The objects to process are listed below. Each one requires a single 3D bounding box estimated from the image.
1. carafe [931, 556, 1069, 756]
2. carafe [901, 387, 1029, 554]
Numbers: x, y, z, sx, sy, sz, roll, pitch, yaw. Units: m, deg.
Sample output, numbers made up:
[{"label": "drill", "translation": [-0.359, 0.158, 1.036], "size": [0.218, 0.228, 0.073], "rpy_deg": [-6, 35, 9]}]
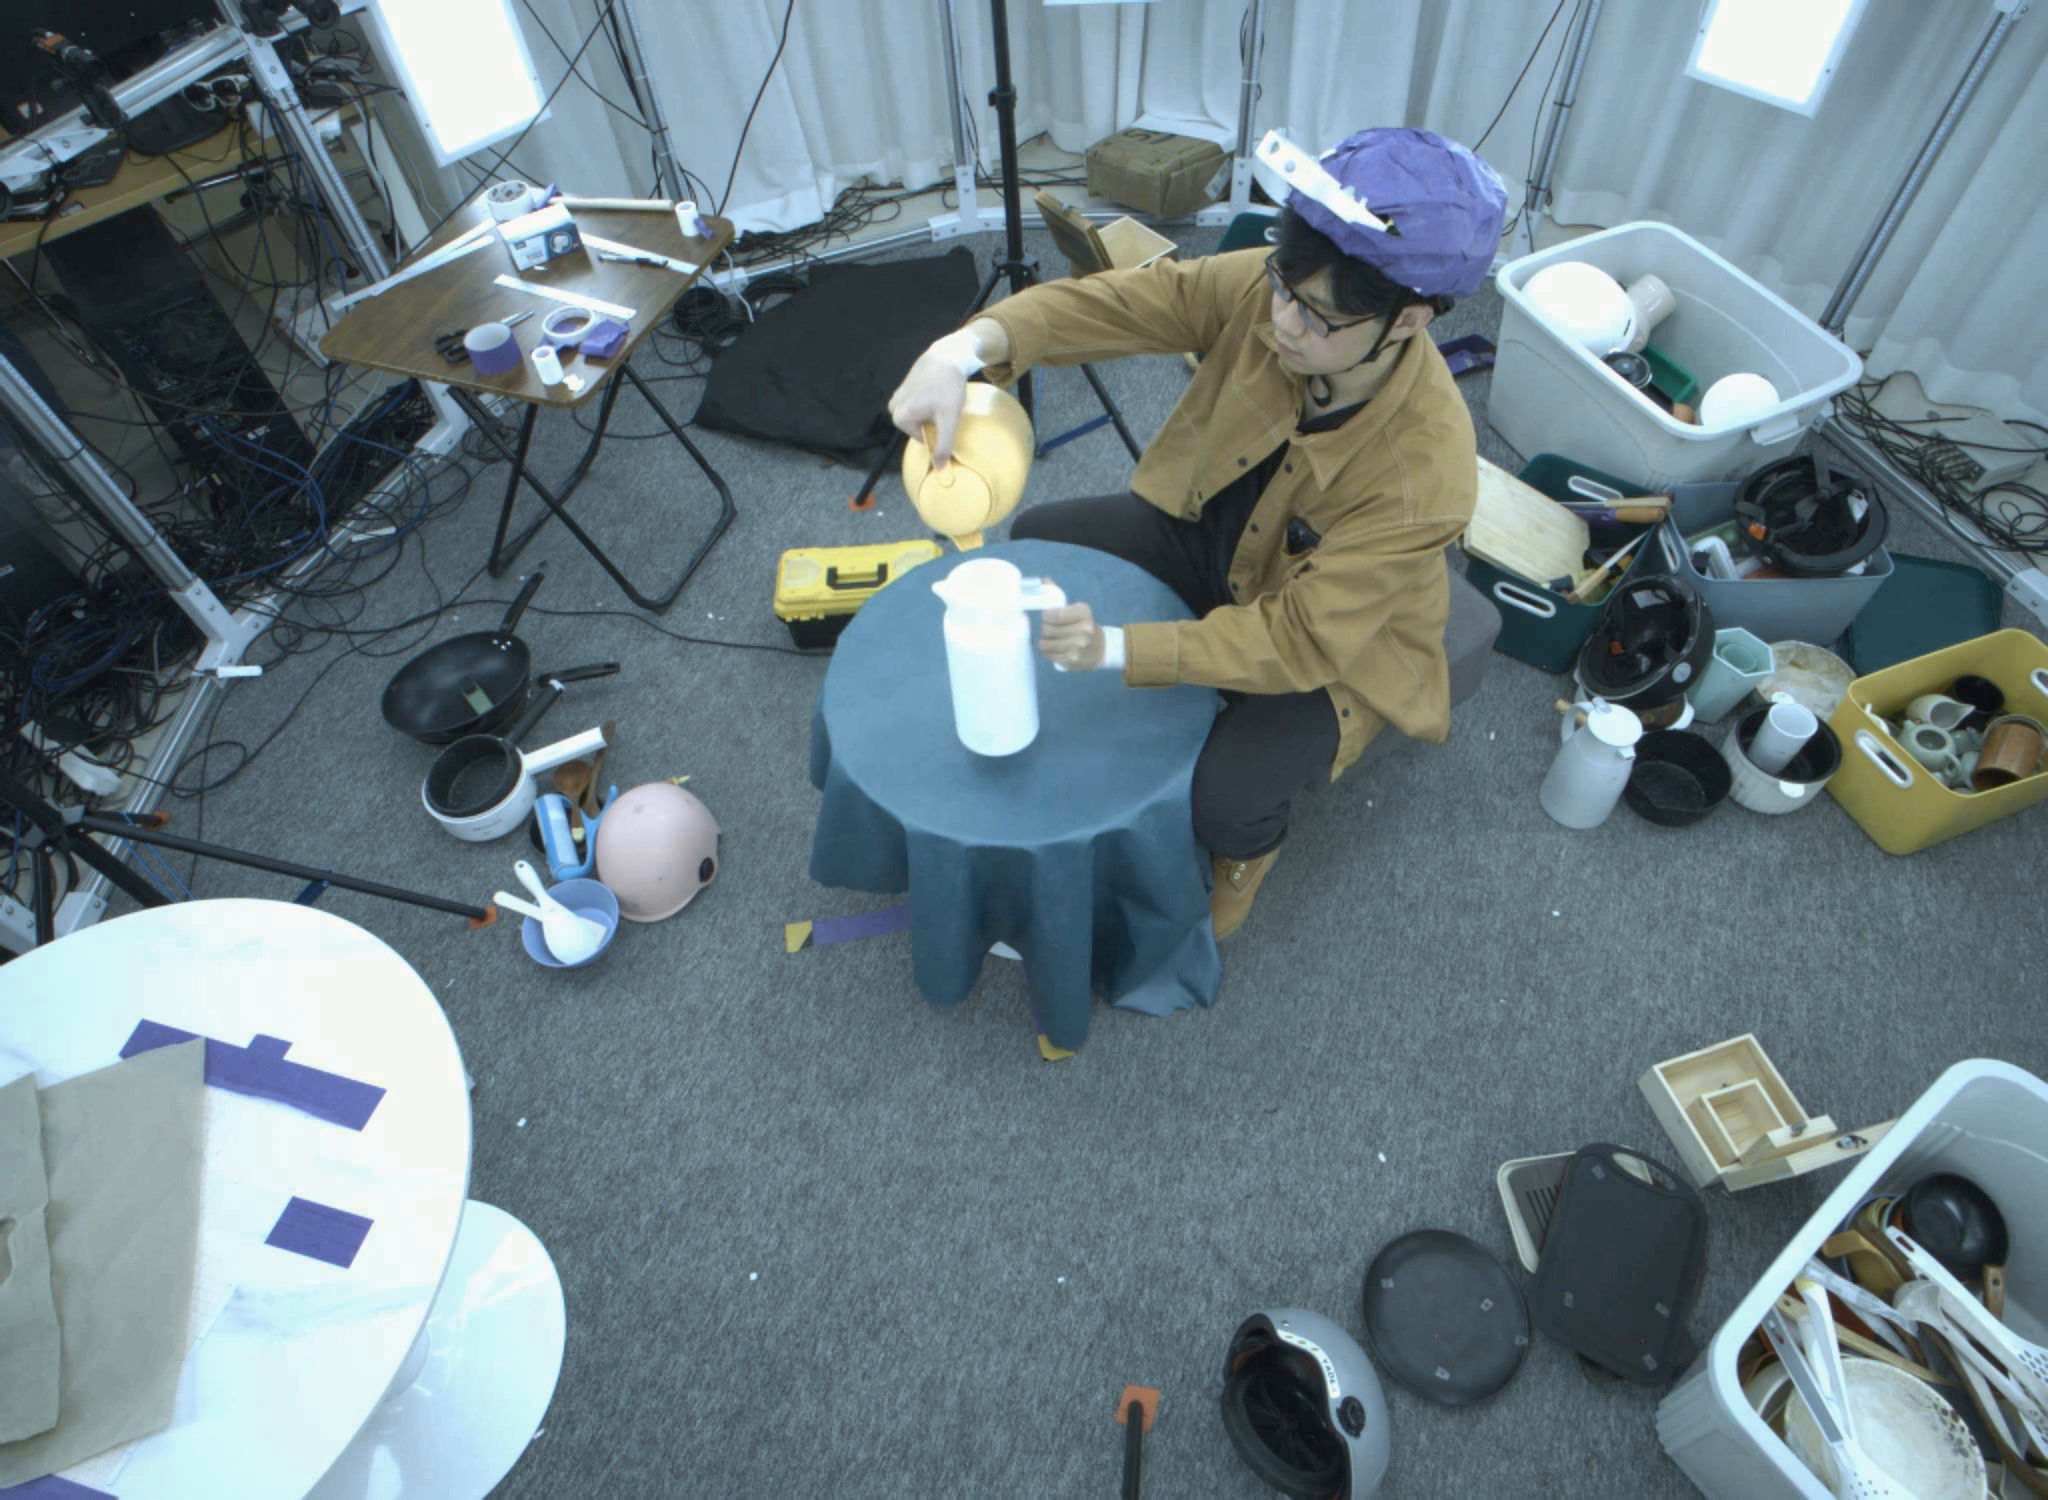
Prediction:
[{"label": "carafe", "translation": [-0.027, -0.122, 1.641], "size": [0.172, 0.272, 0.122], "rpy_deg": [0, 44, 3]}, {"label": "carafe", "translation": [-0.082, -0.379, 1.553], "size": [0.163, 0.205, 0.257], "rpy_deg": [-10, 34, 7]}]
